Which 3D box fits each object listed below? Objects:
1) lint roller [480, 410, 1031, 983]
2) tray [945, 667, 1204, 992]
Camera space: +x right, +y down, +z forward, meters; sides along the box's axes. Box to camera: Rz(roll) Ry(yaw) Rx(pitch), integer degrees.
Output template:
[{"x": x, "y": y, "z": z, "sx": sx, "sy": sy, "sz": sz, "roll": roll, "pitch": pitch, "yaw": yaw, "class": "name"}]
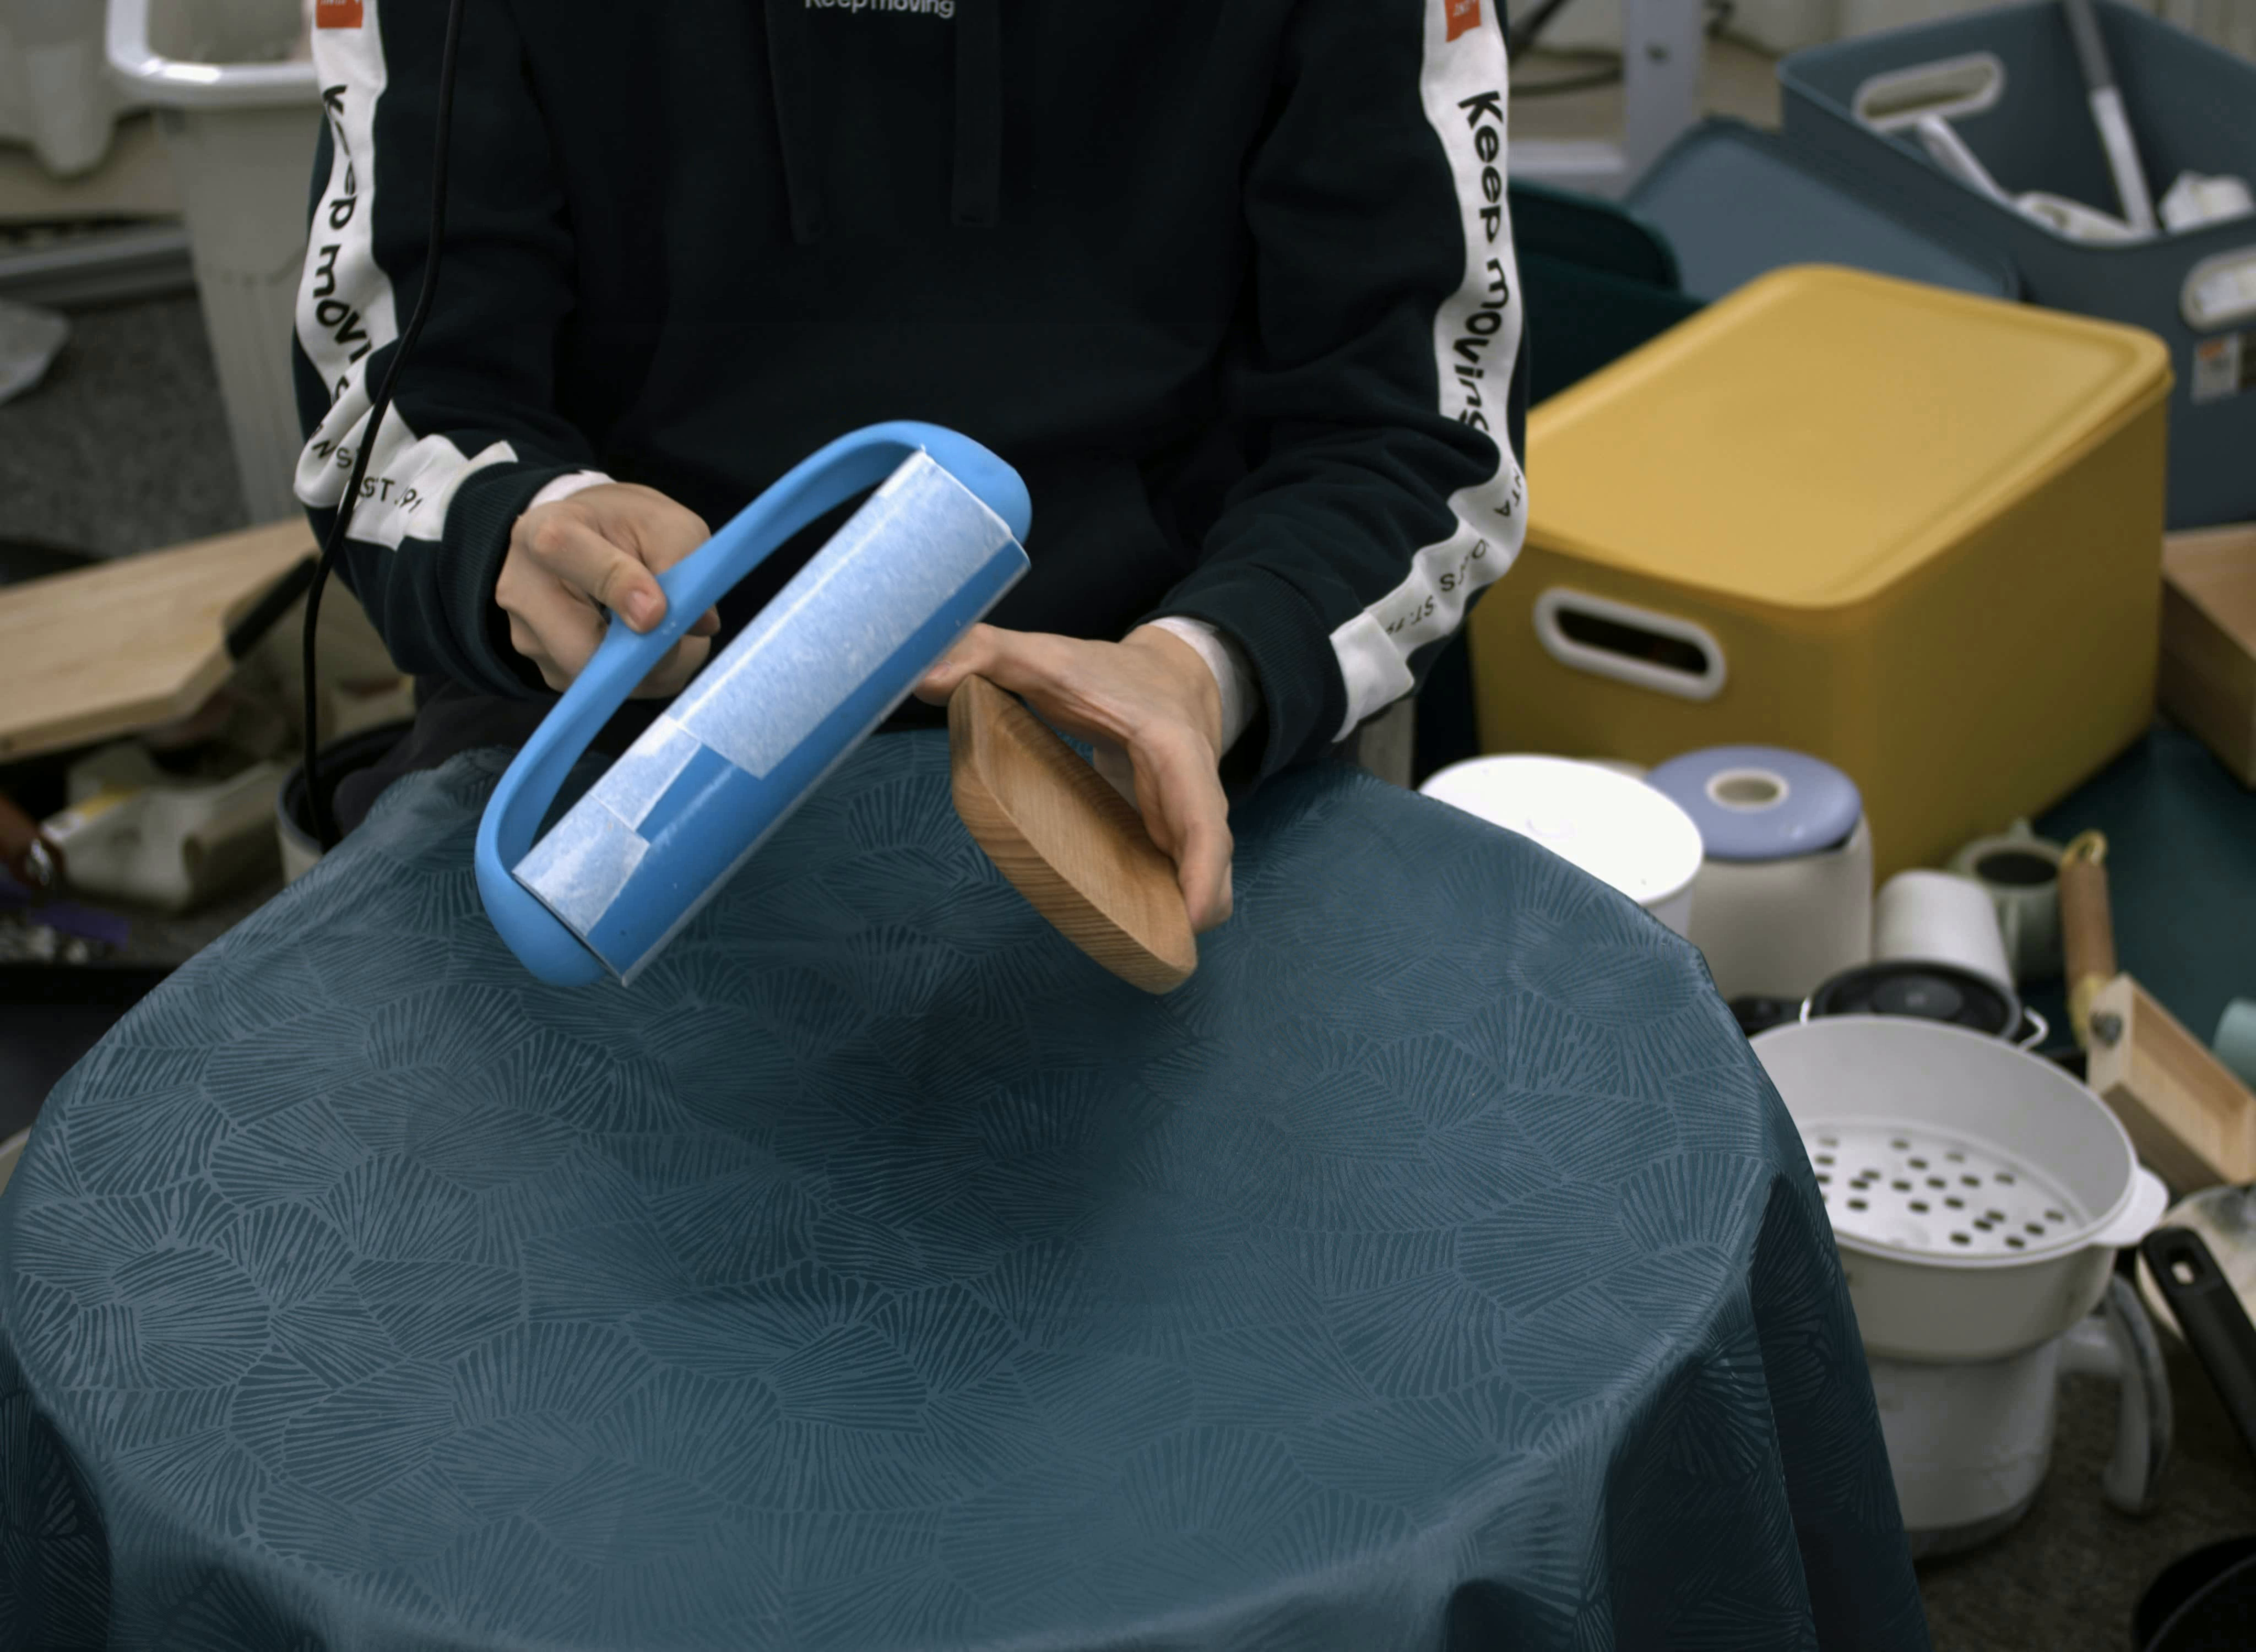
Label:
[{"x": -0.145, "y": -0.055, "z": 1.884, "sx": 0.230, "sy": 0.067, "sz": 0.180, "roll": -49, "pitch": 32, "yaw": -10, "class": "lint roller"}, {"x": -0.021, "y": 0.001, "z": 1.885, "sx": 0.020, "sy": 0.101, "sz": 0.232, "roll": -46, "pitch": 12, "yaw": 7, "class": "tray"}]
